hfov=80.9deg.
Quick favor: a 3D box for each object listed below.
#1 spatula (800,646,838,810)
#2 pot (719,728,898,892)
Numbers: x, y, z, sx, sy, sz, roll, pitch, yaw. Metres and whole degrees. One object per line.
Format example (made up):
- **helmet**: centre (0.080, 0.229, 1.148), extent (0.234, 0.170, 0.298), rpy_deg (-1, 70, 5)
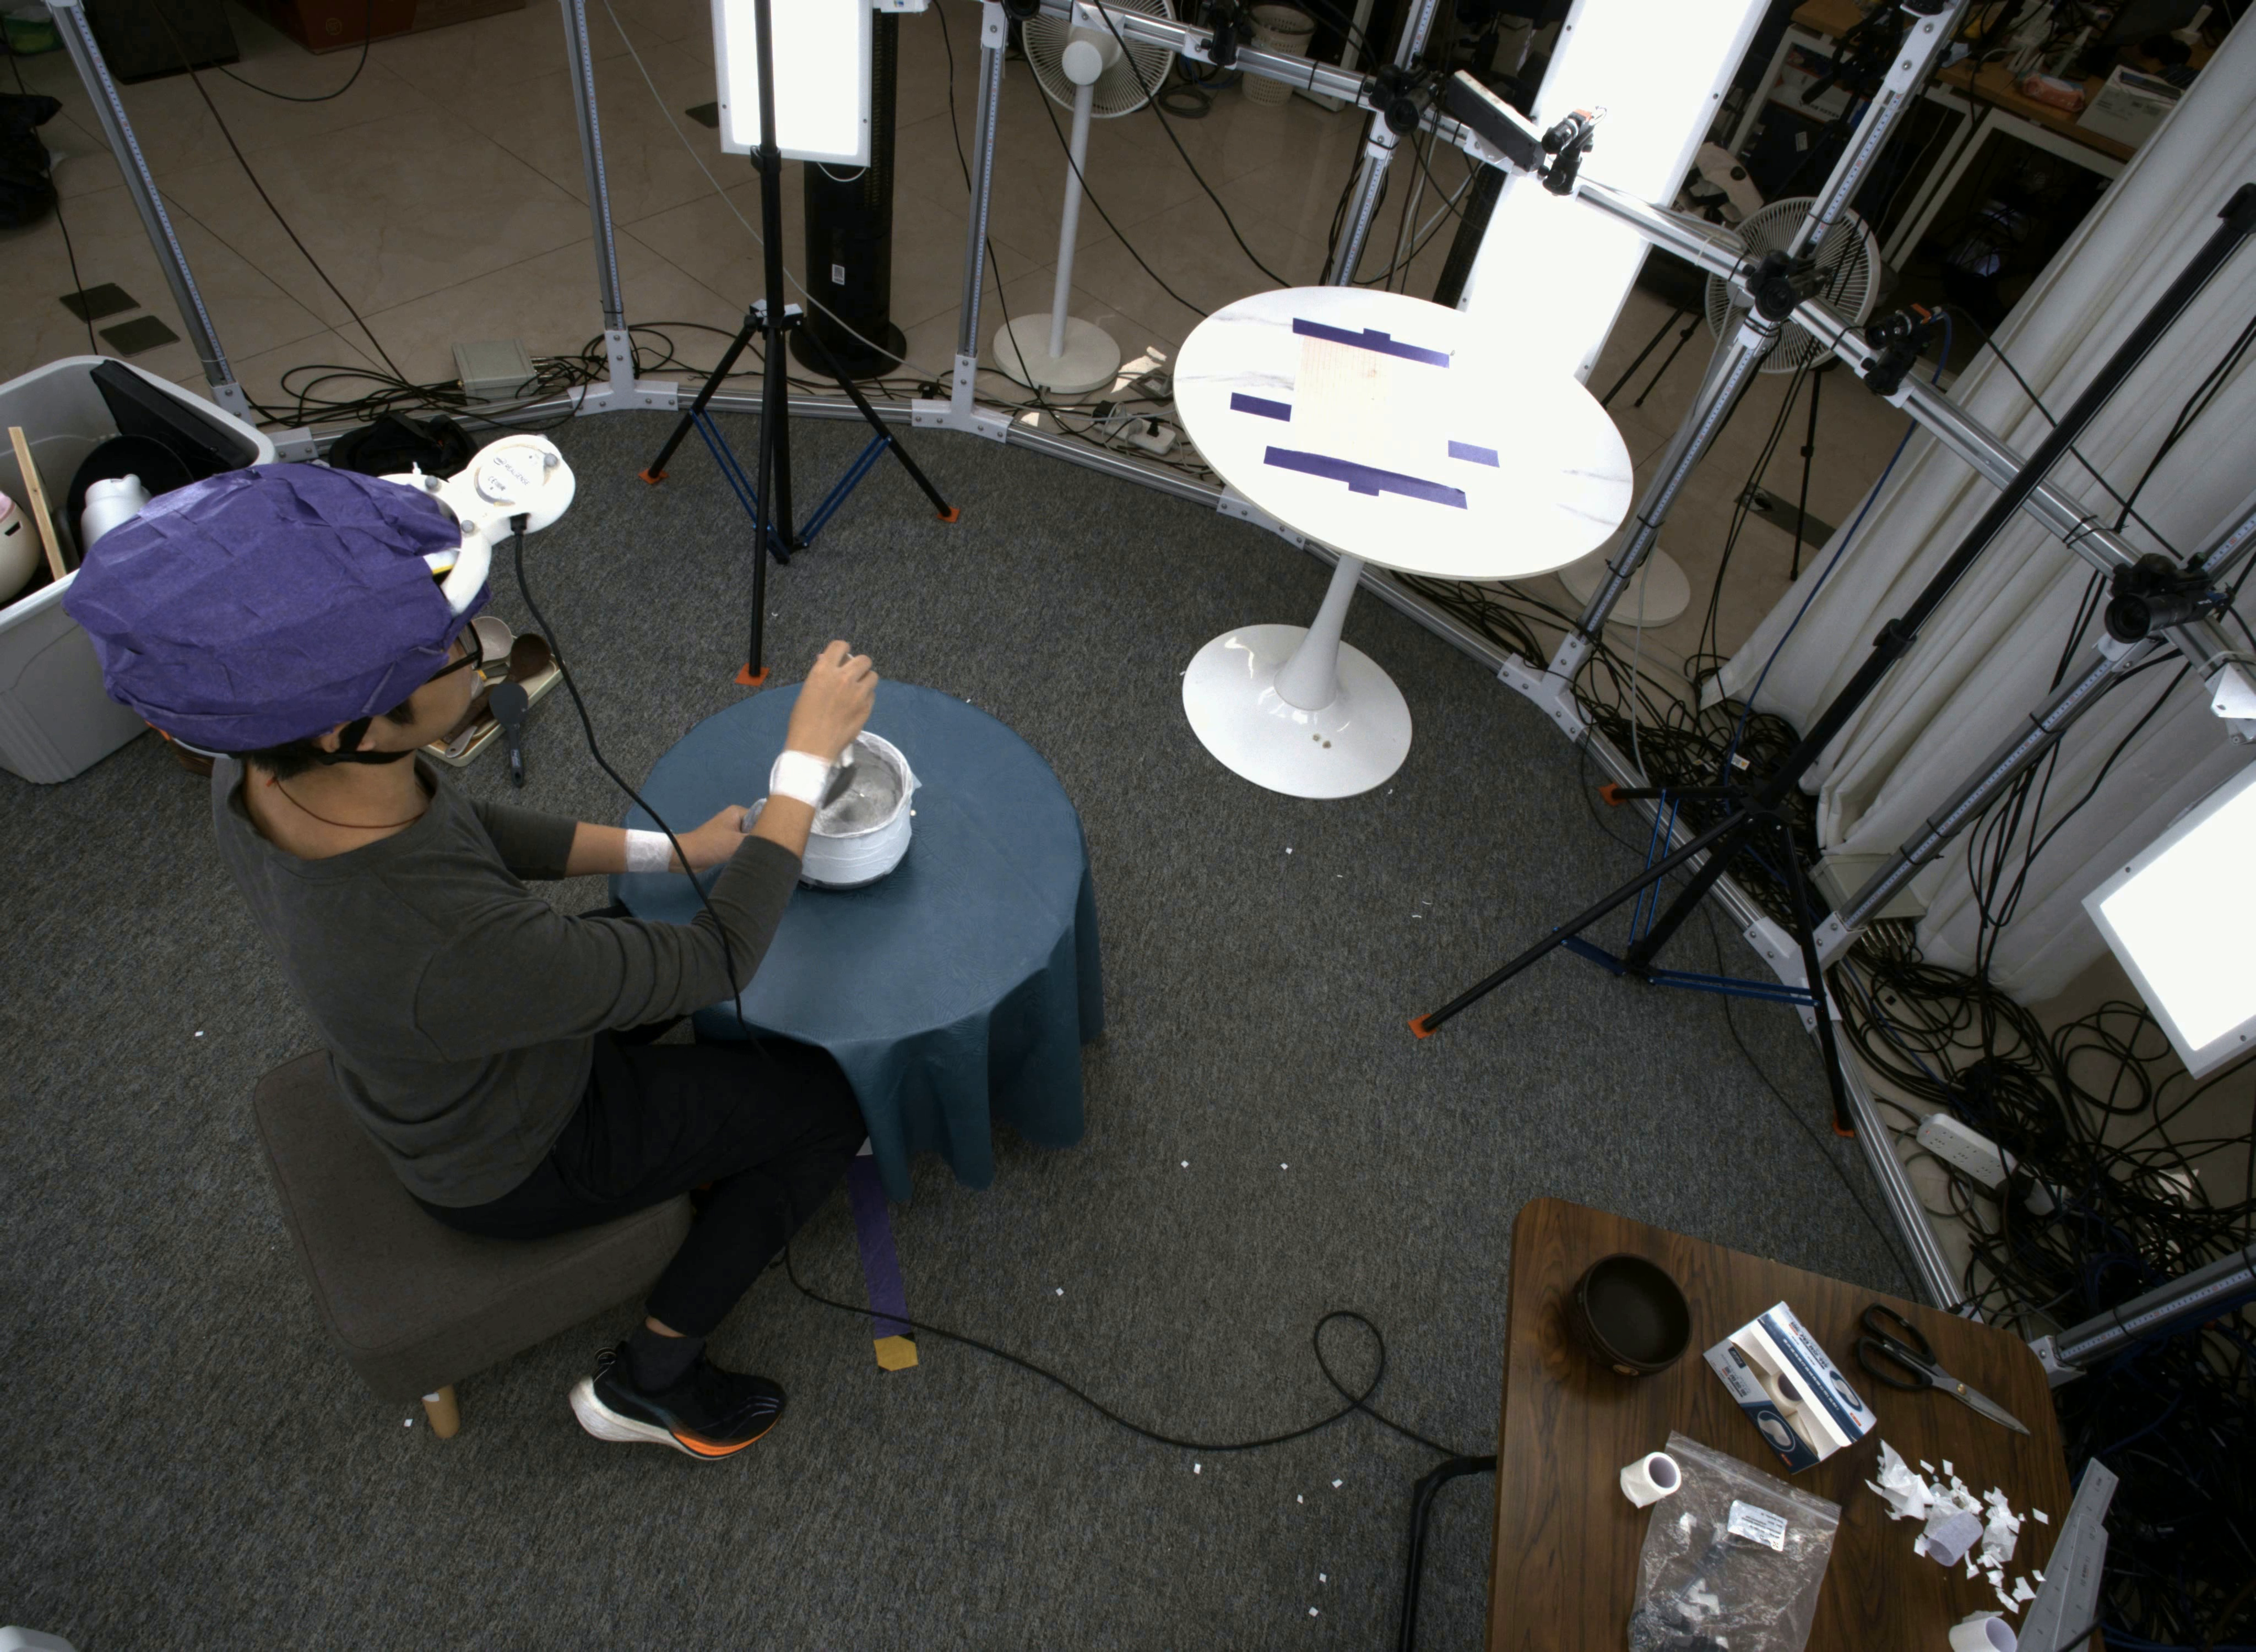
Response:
- **spatula**: centre (-0.372, -0.108, 1.562), extent (0.031, 0.293, 0.058), rpy_deg (35, 58, 13)
- **pot**: centre (-0.410, -0.008, 1.657), extent (0.235, 0.139, 0.174), rpy_deg (-21, 60, -26)
